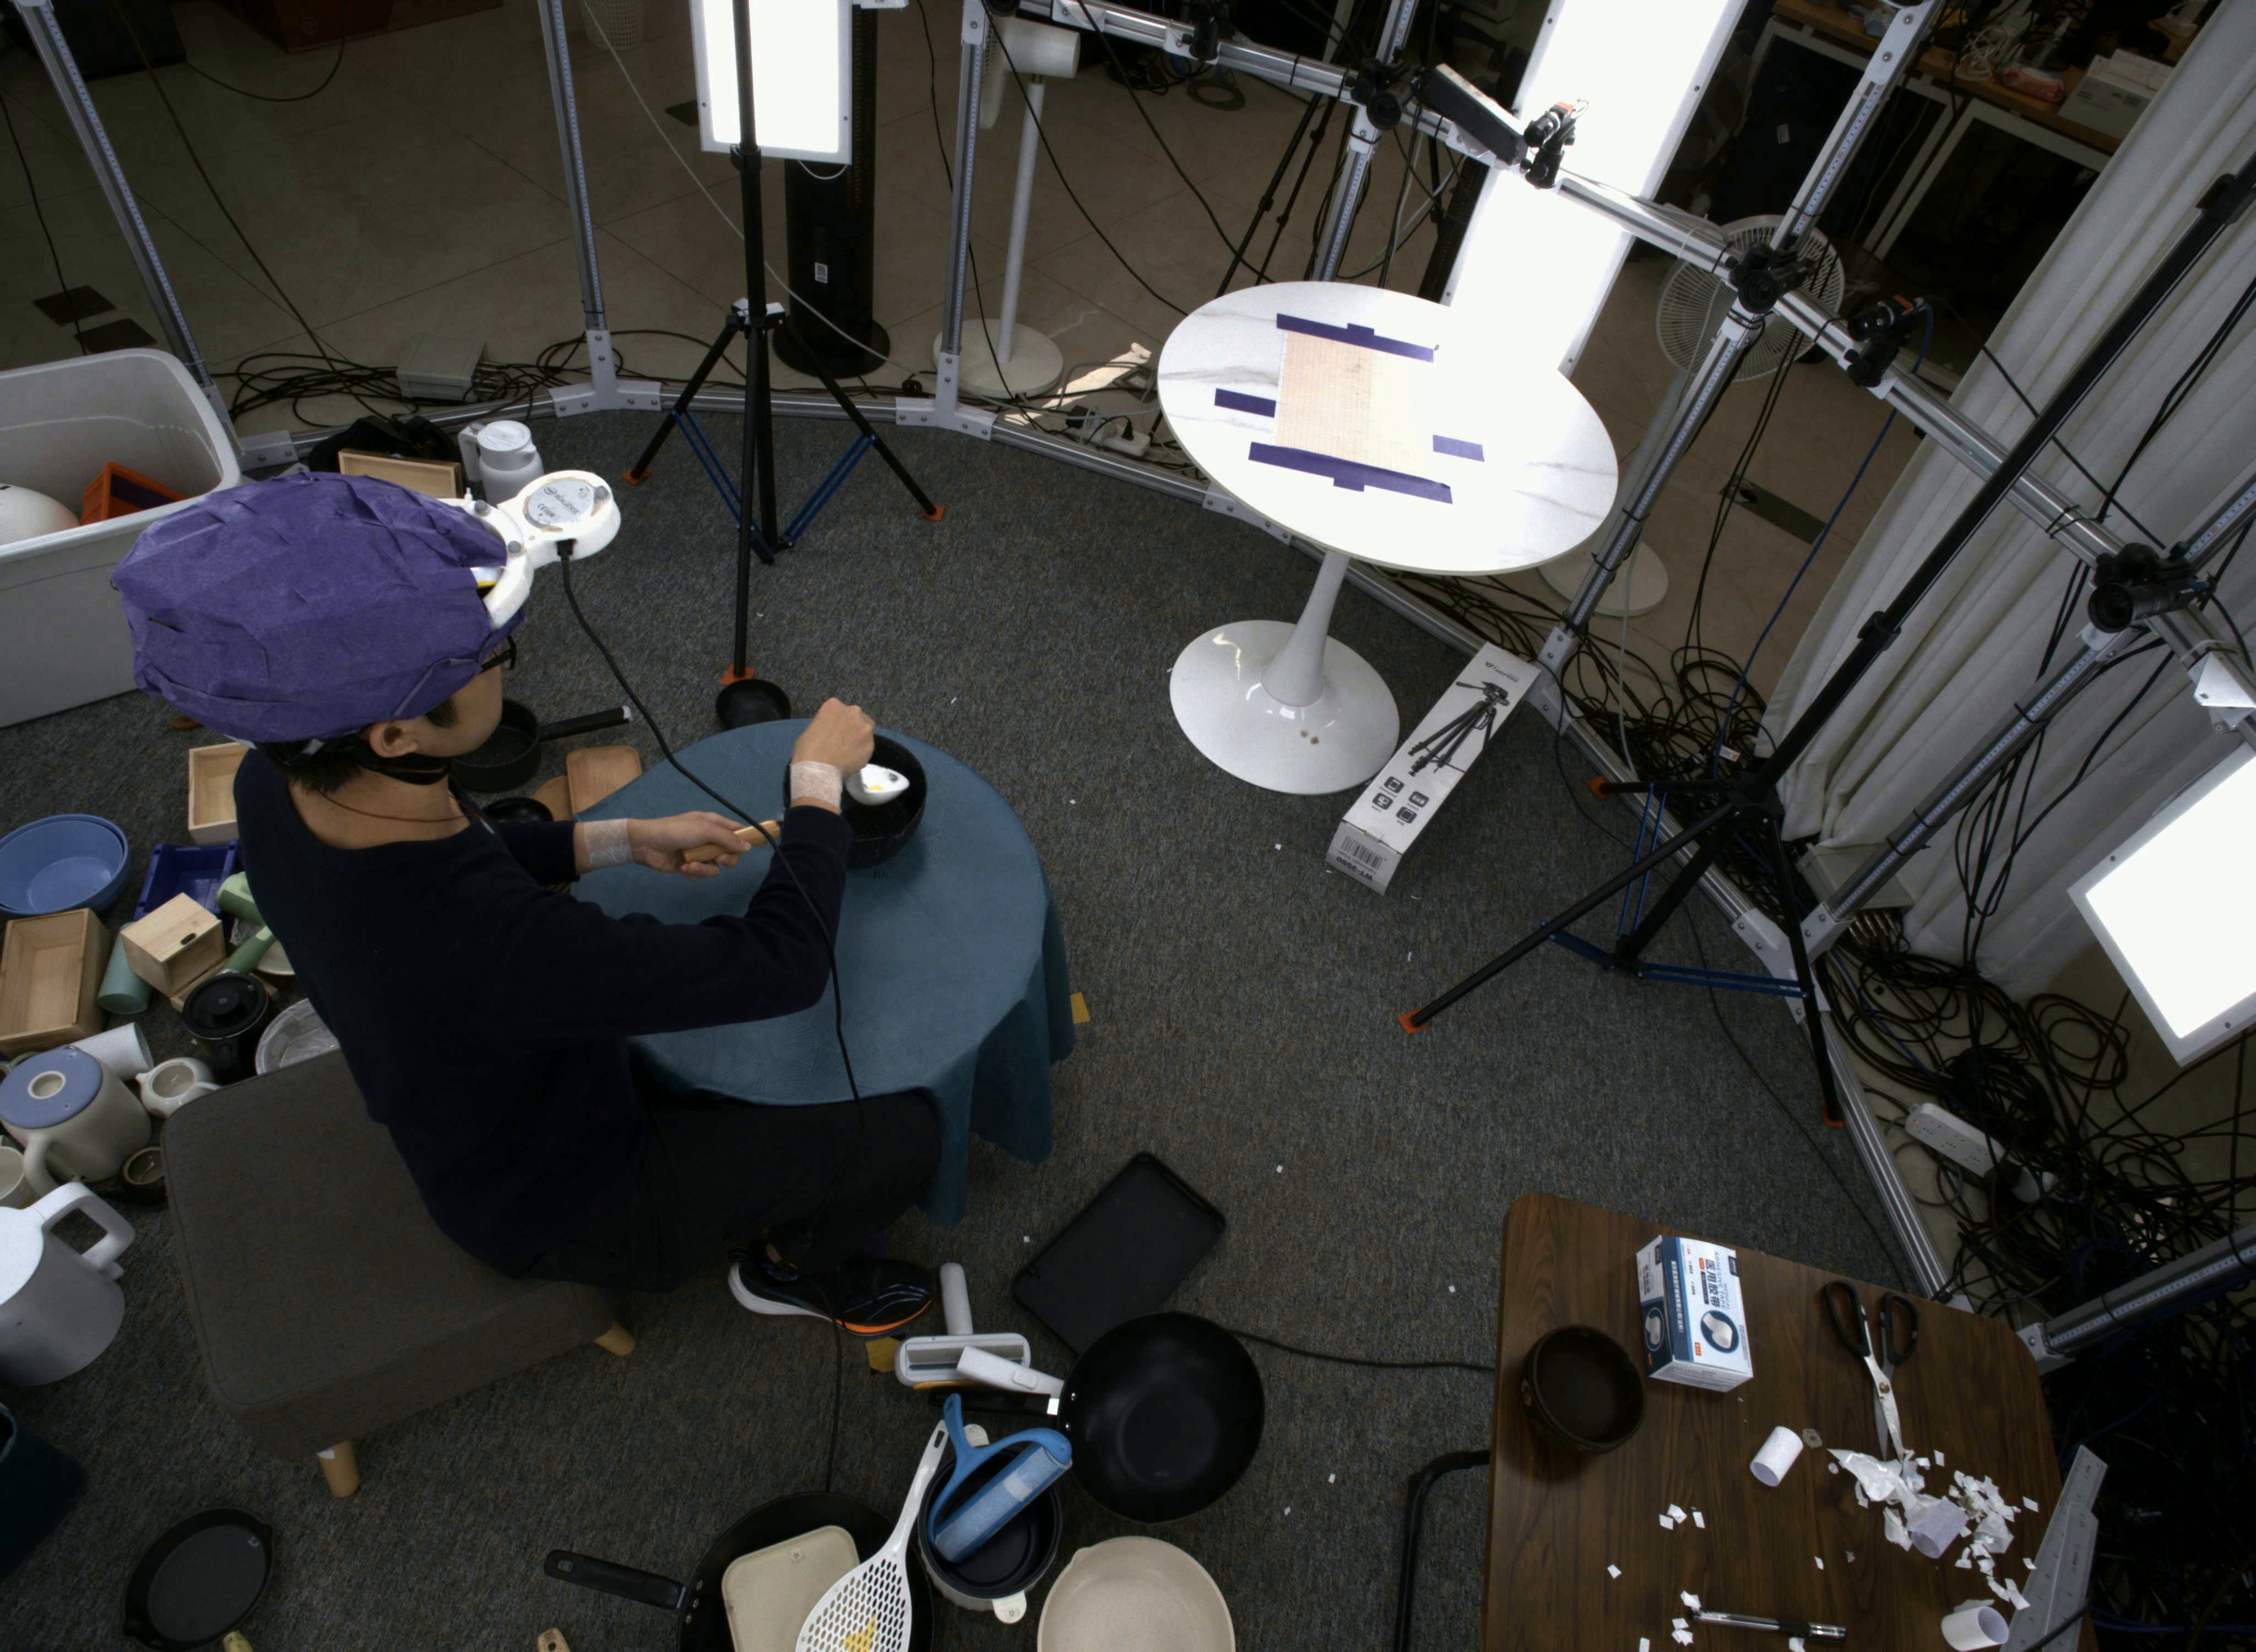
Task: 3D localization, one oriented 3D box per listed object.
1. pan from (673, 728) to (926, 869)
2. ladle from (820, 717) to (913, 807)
[{"bbox_3d":[-0.415,-0.004,1.645,0.344,0.110,0.203,-30,66,-34],"label":"pan"},{"bbox_3d":[-0.325,-0.085,1.591,0.089,0.296,0.070,25,76,4],"label":"ladle"}]
